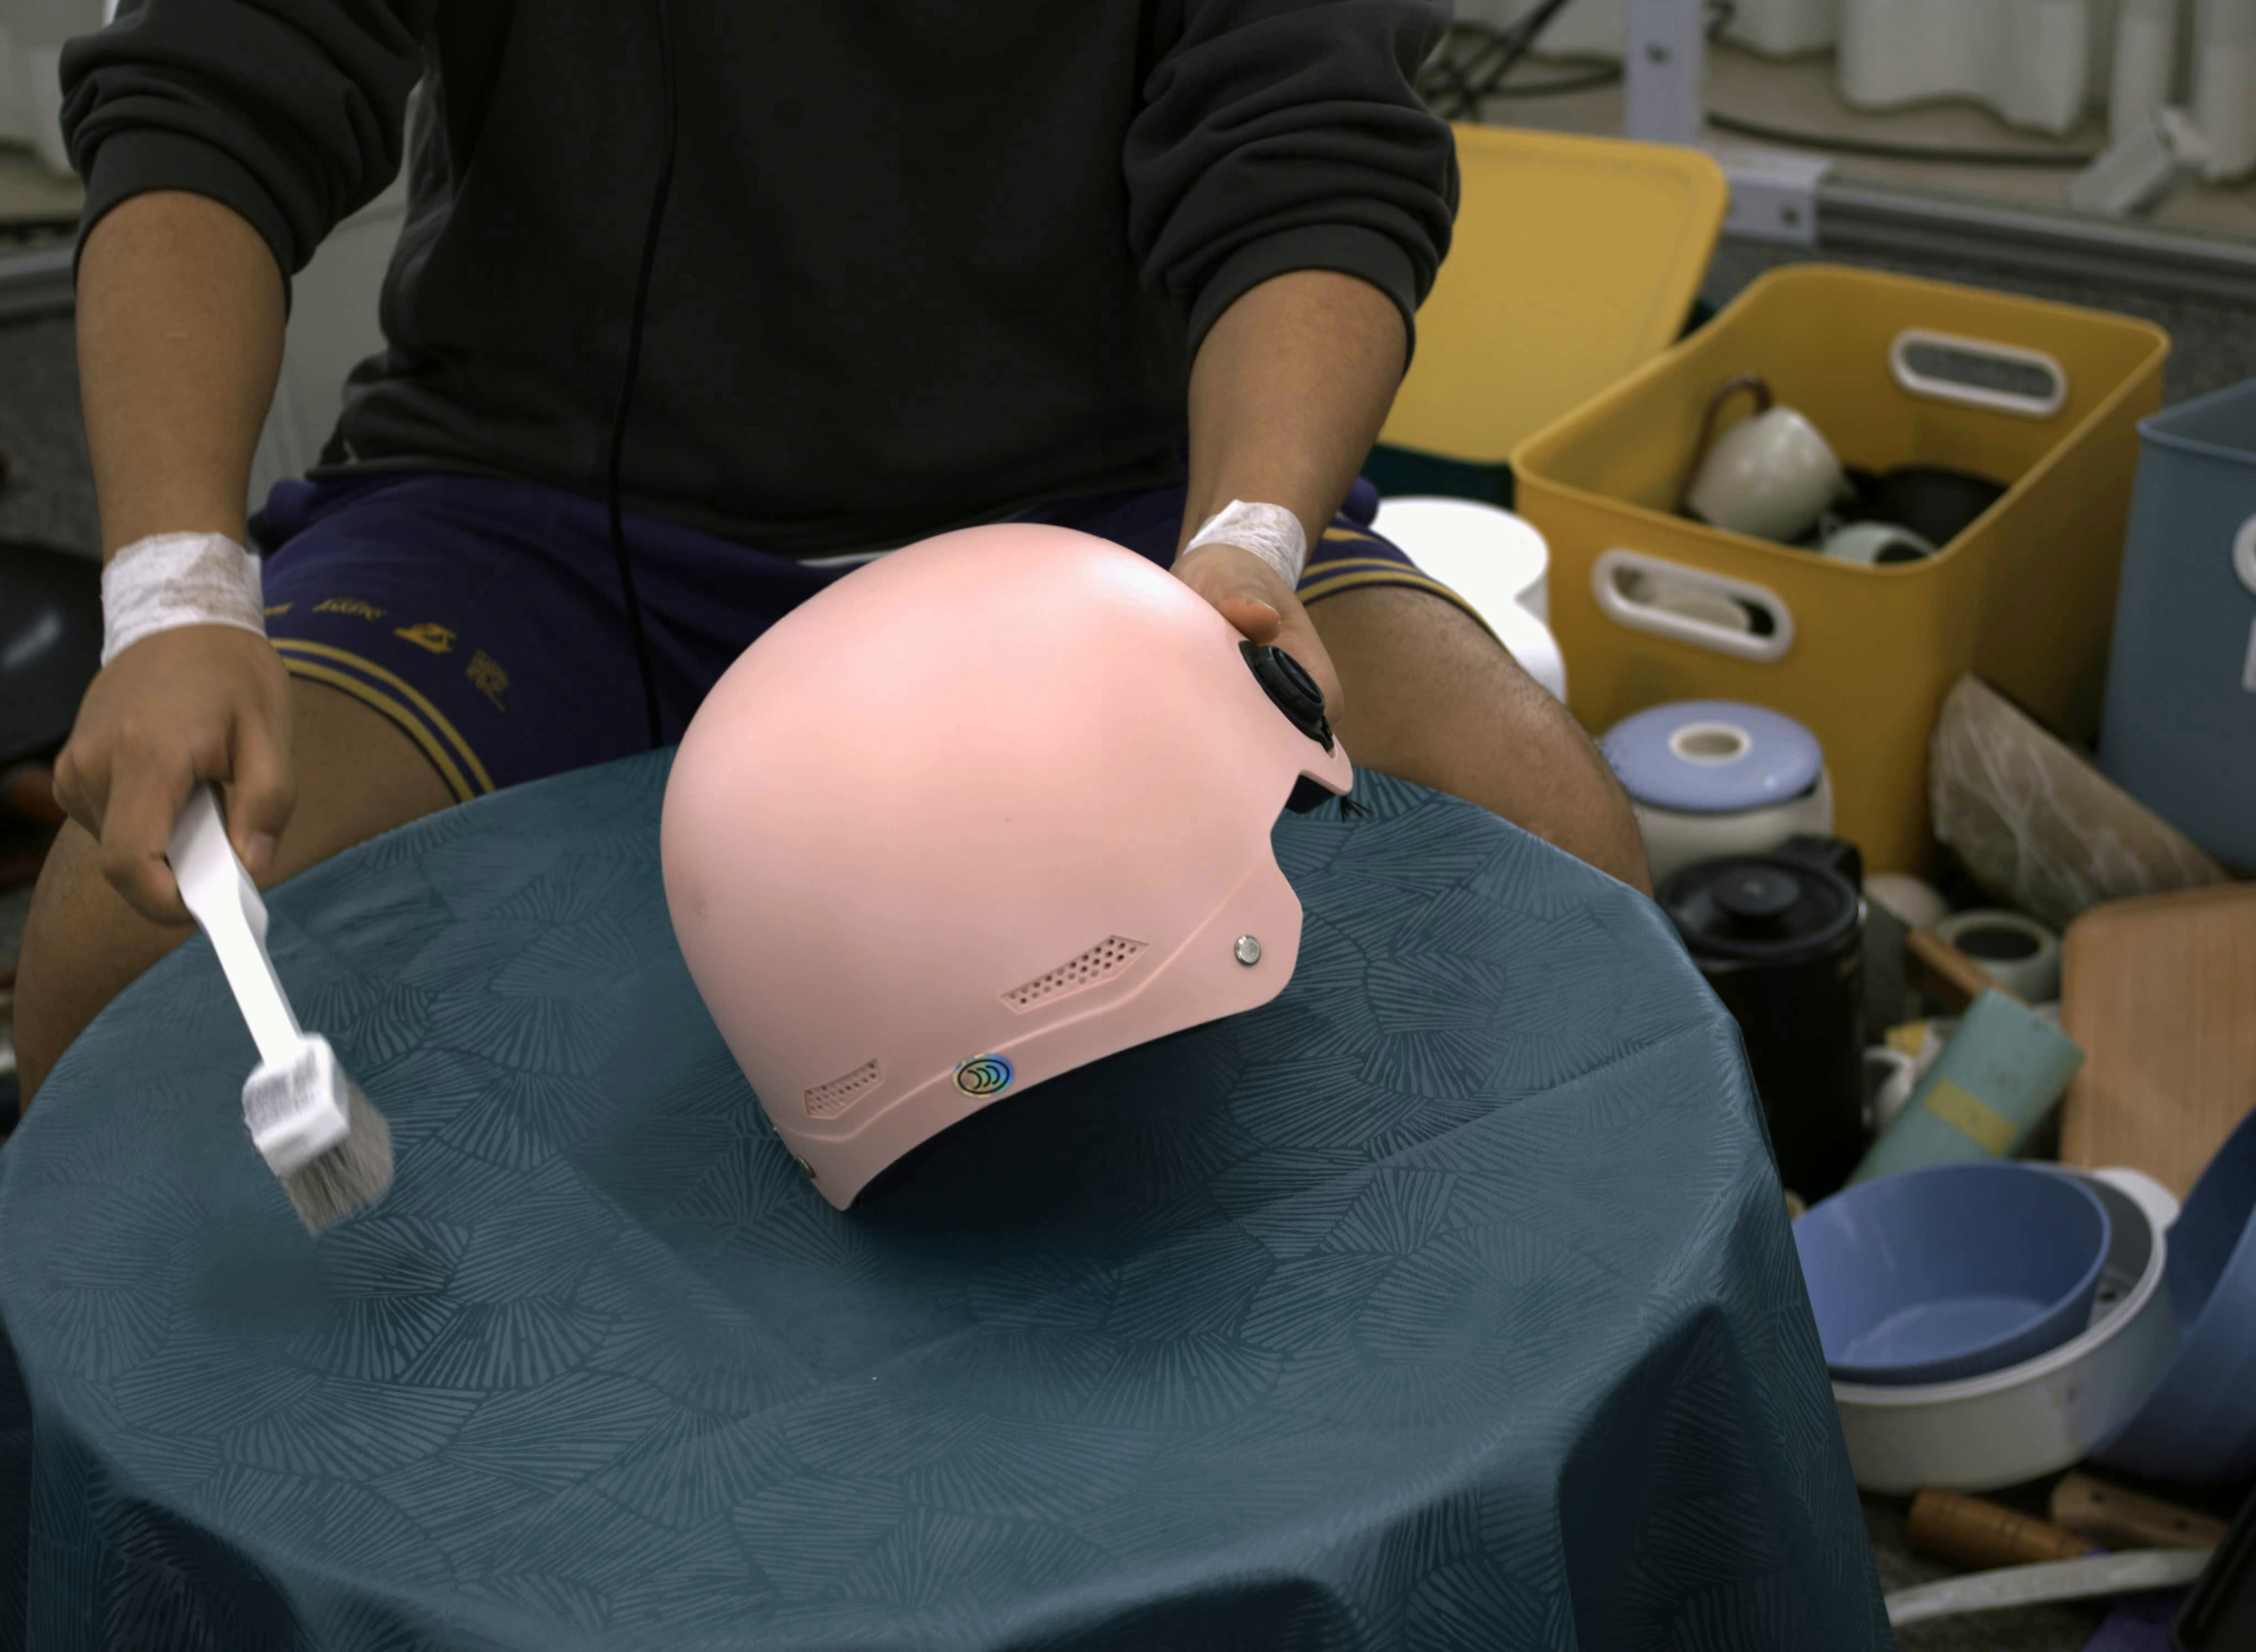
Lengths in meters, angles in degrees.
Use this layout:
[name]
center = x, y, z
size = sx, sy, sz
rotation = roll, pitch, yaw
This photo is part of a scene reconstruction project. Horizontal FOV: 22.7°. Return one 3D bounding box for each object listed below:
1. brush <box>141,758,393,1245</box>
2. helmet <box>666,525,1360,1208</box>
[brush]
center = -0.289, 0.058, 1.883
size = 0.034, 0.050, 0.246
rotation = -31, 38, 0
[helmet]
center = -0.057, -0.014, 1.880
size = 0.231, 0.158, 0.270
rotation = -28, 22, 19
